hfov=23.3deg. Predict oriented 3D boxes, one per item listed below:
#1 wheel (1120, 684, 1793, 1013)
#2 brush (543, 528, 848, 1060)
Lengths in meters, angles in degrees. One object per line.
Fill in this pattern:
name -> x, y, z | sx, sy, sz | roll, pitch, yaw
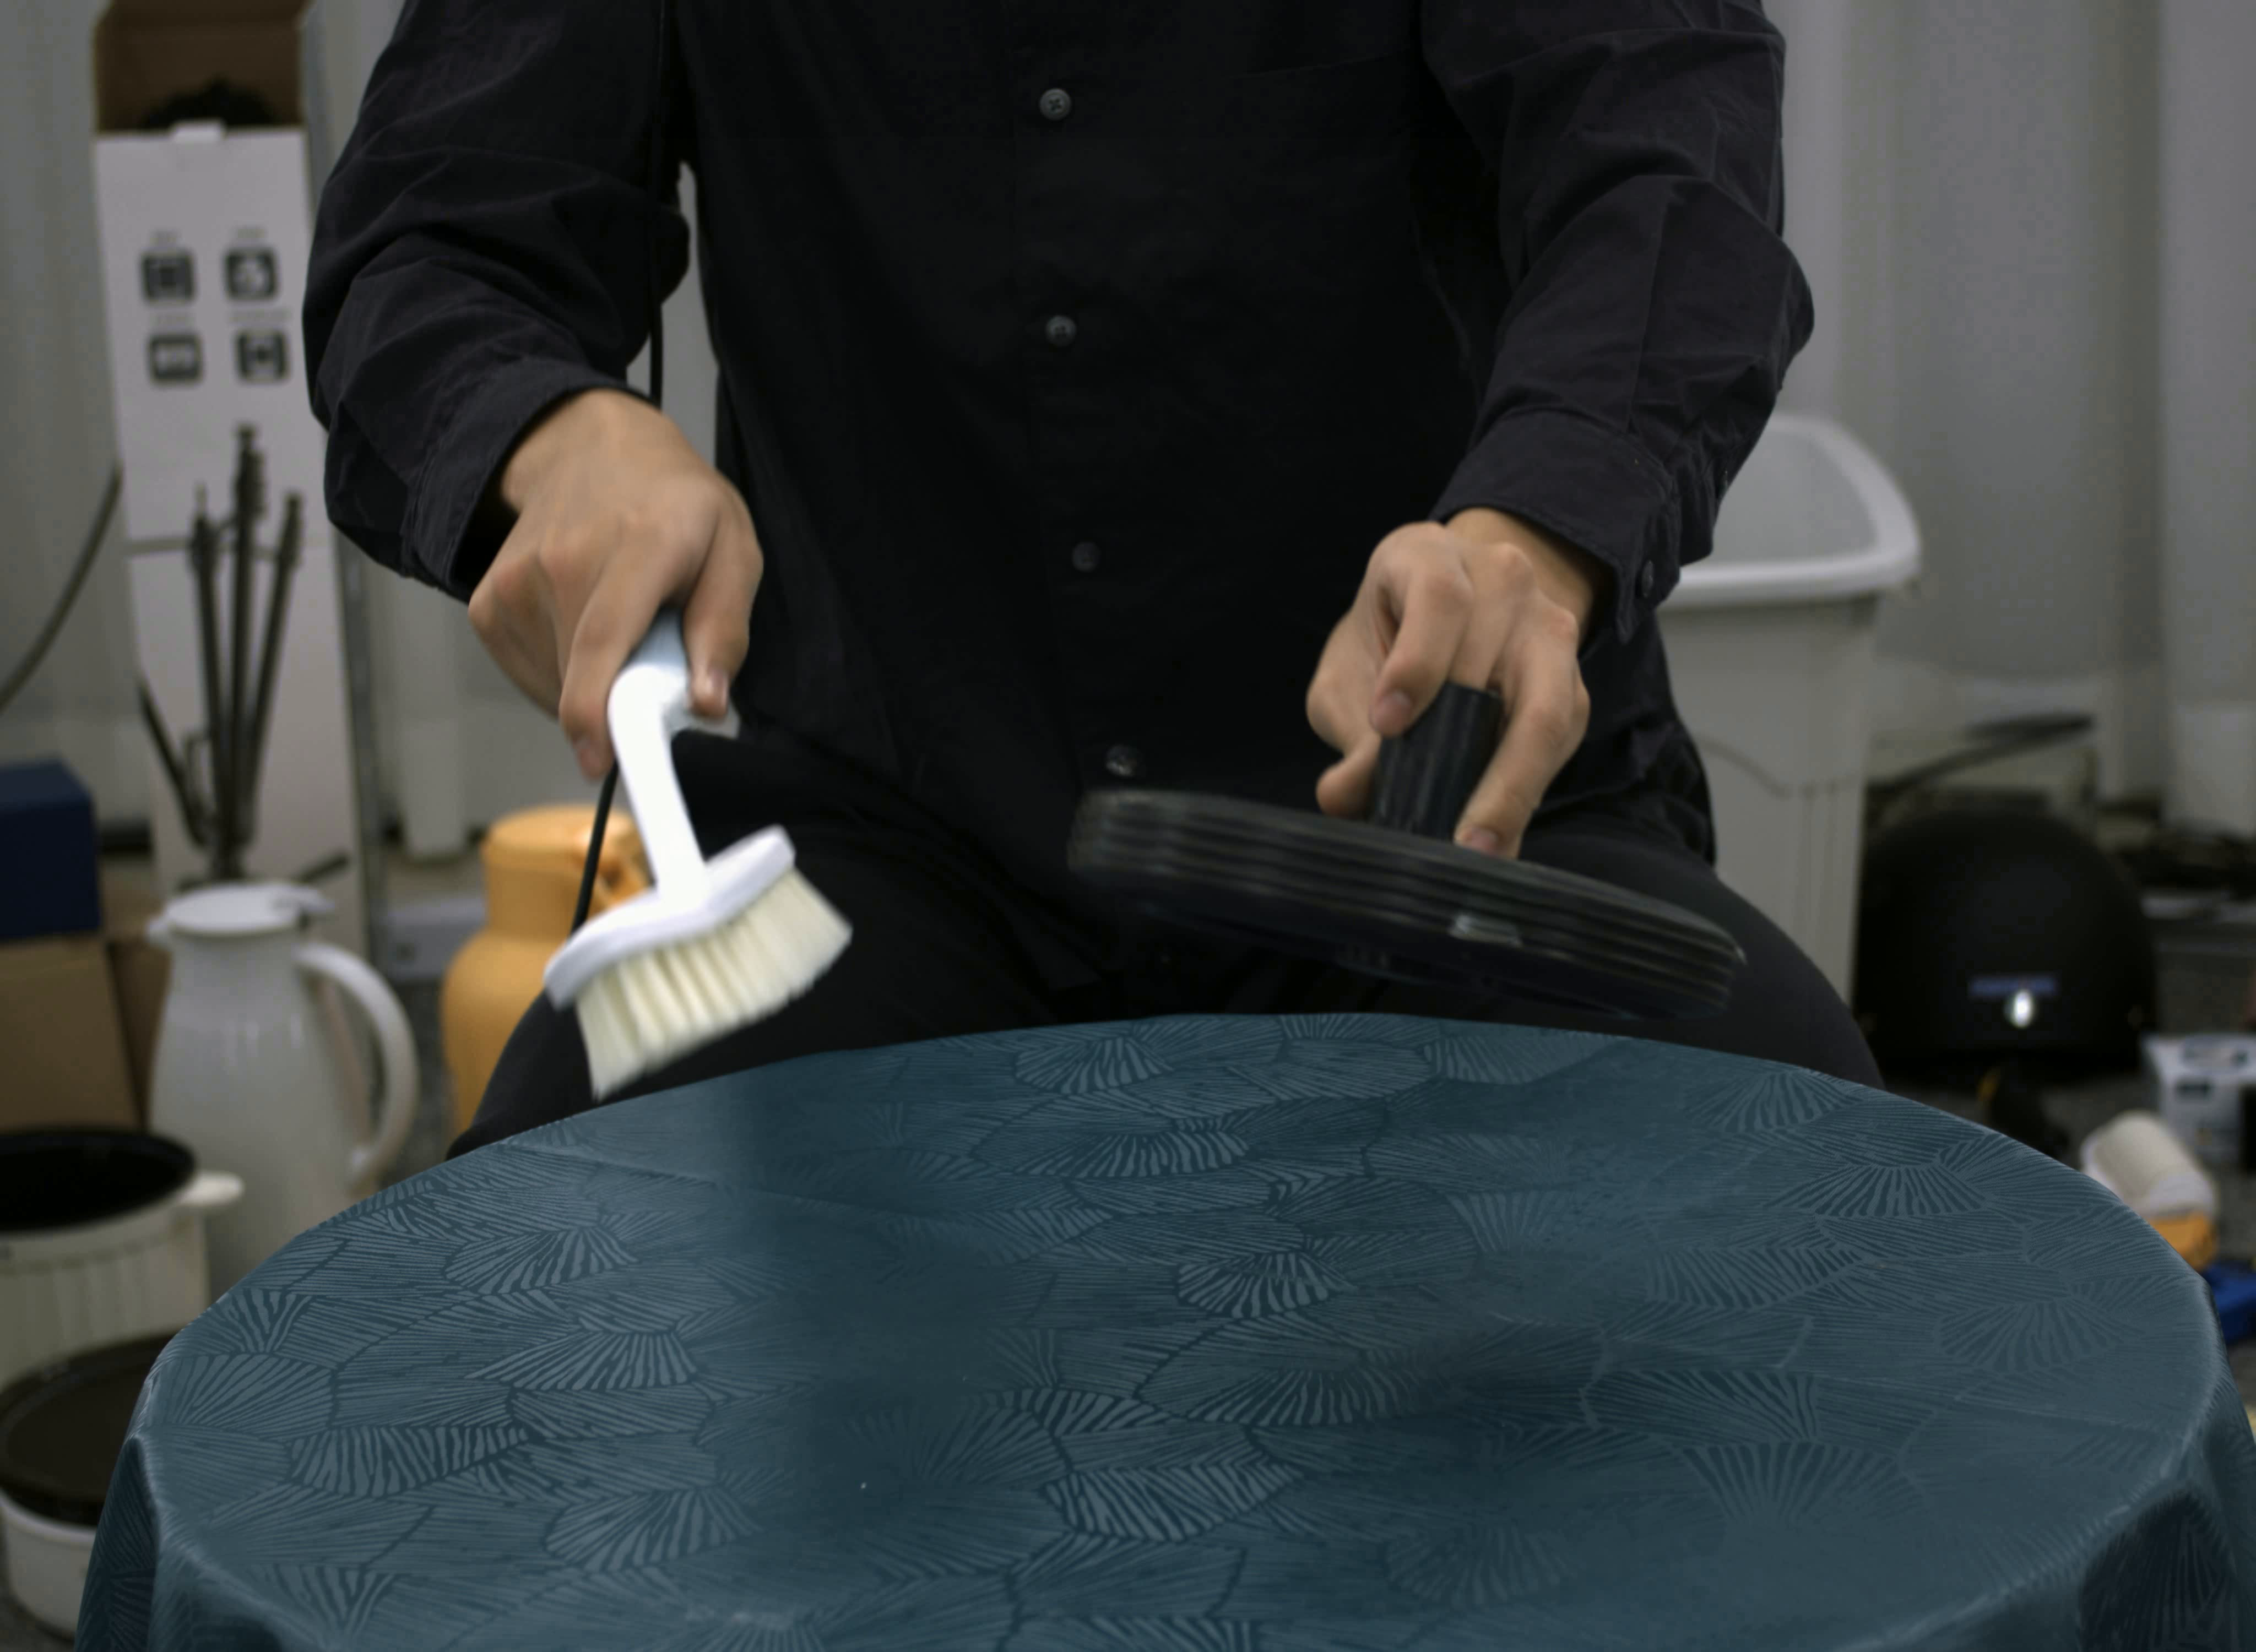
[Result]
wheel -> 0.095, 0.002, 1.525 | 0.185, 0.079, 0.191 | 16, -5, -42
brush -> -0.121, -0.003, 1.636 | 0.083, 0.084, 0.328 | 8, 20, -3
